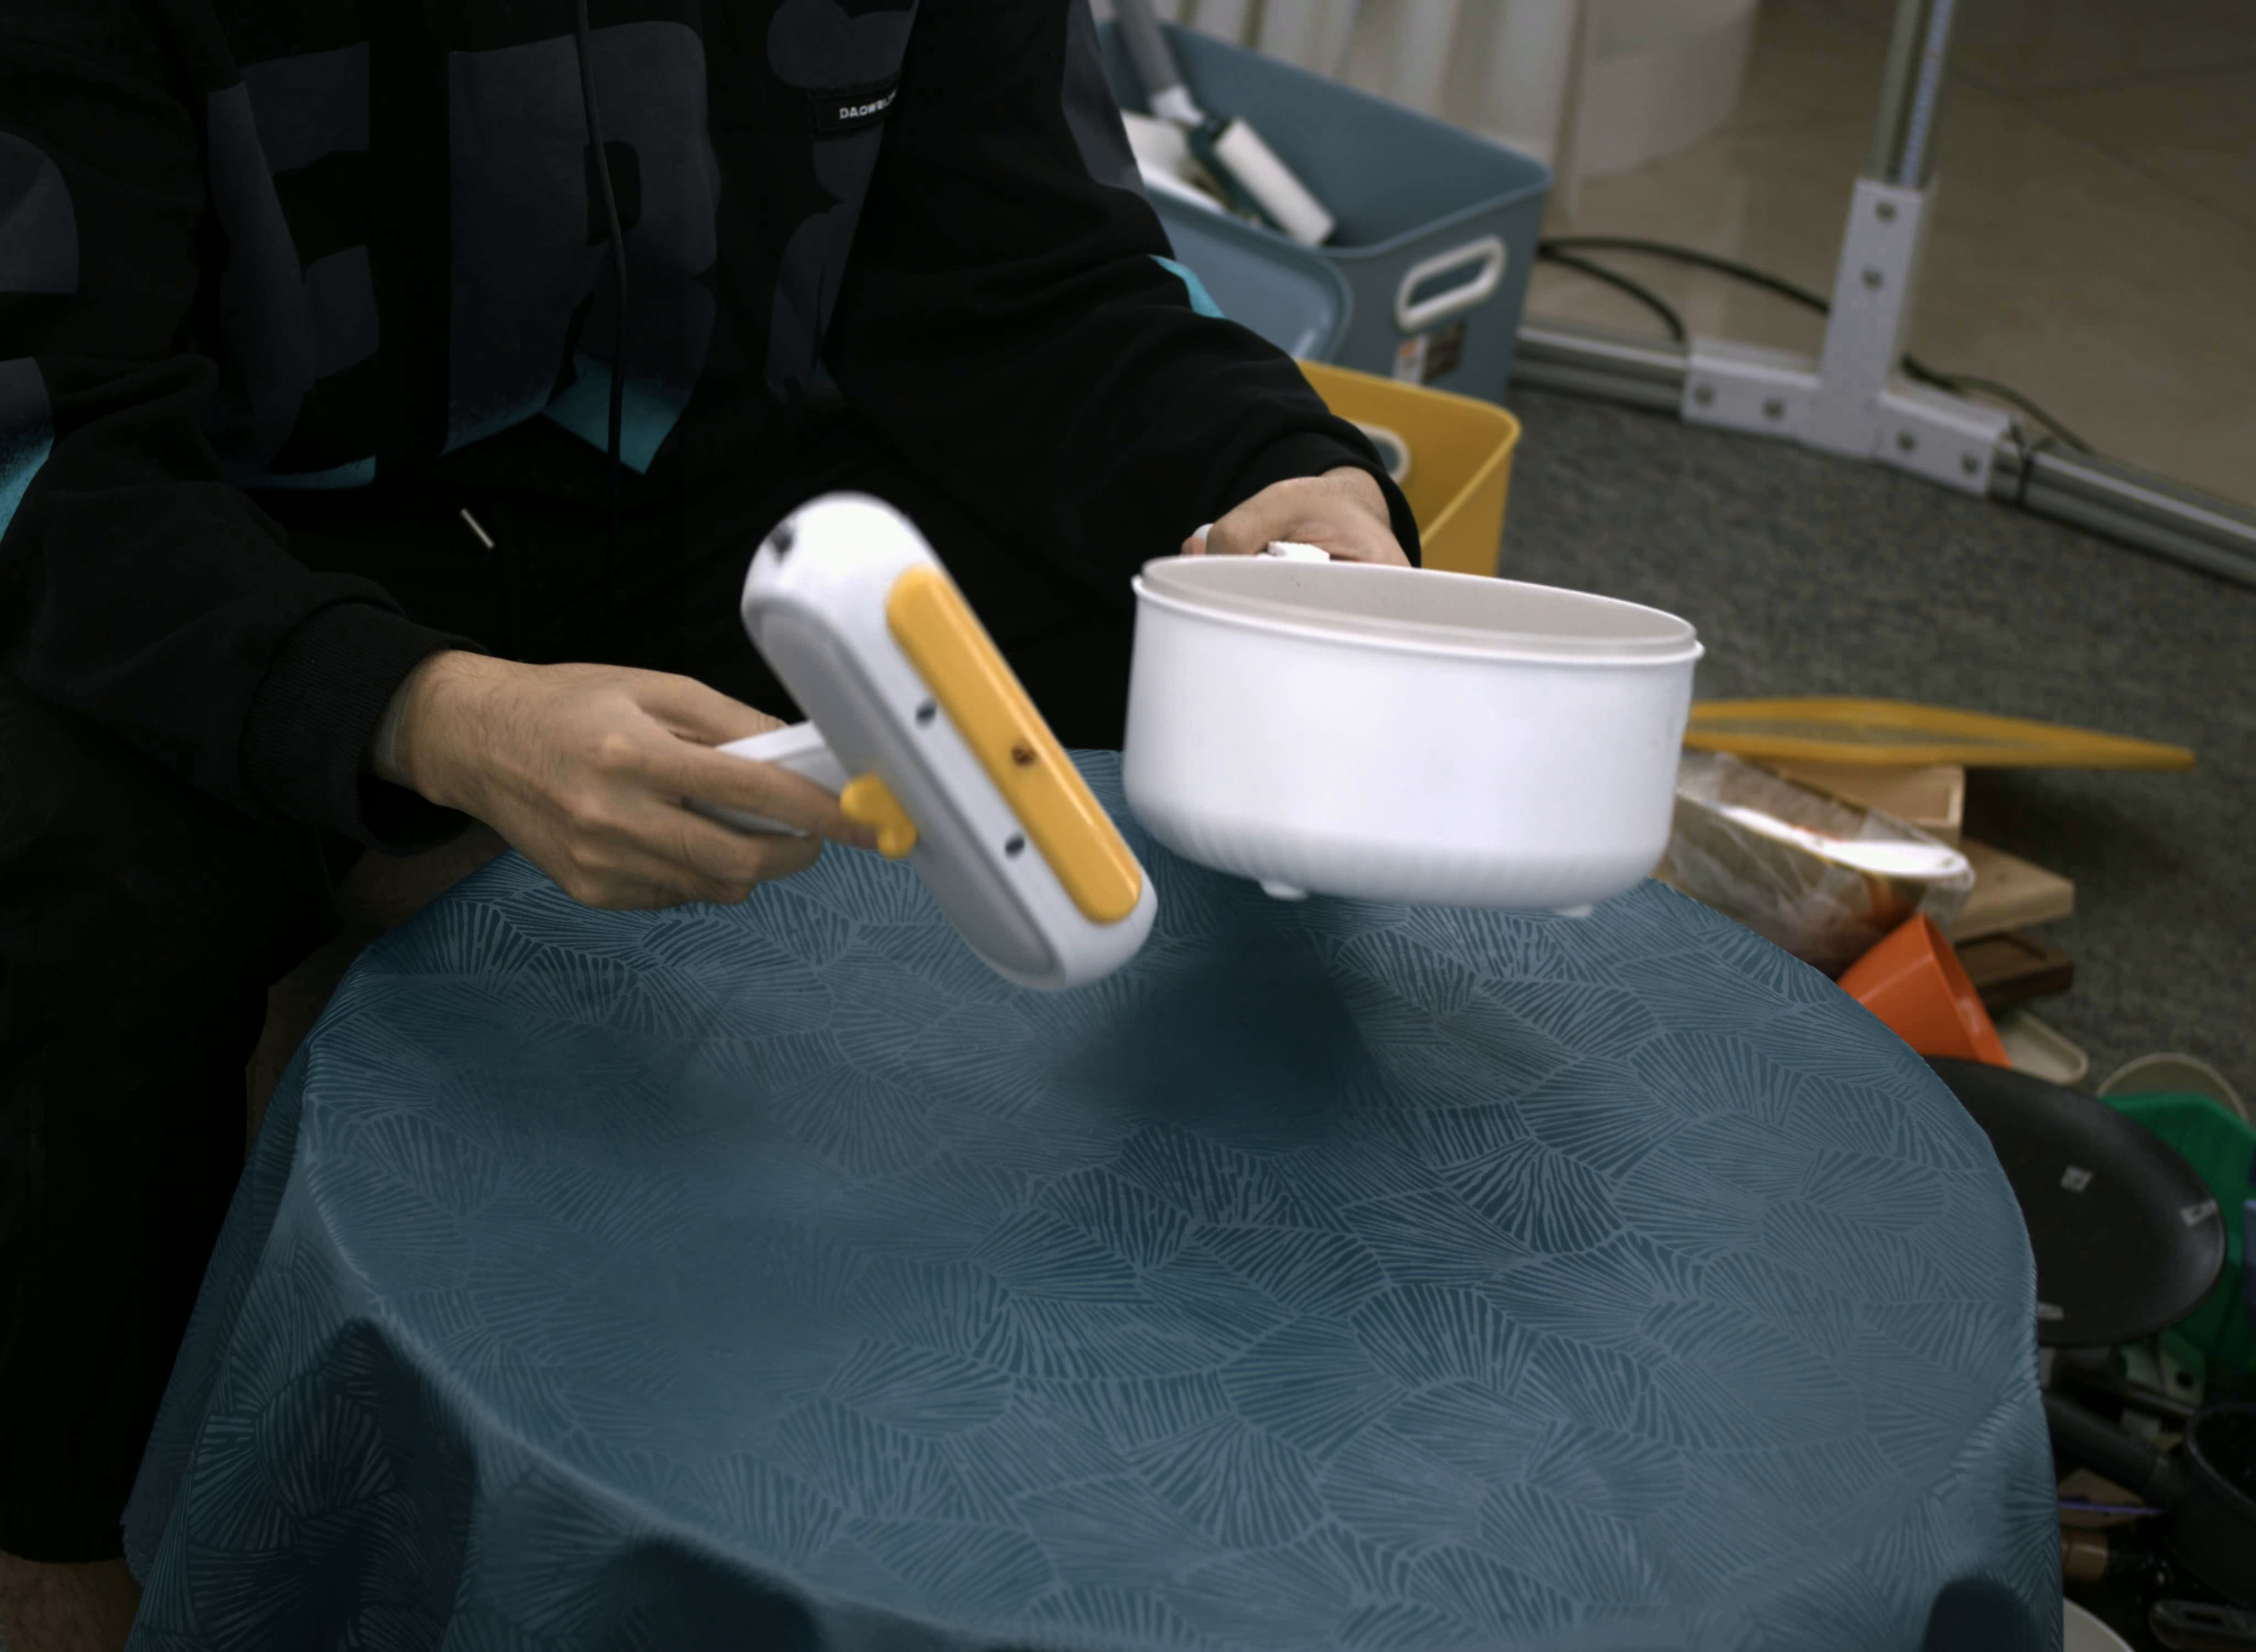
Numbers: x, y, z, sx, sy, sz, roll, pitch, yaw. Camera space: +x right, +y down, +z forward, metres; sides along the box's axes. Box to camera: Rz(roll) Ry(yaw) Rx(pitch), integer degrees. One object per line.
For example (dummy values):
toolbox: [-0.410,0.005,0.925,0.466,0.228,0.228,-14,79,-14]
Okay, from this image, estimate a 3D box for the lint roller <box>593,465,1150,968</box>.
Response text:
lint roller: [-0.105,-0.023,1.792,0.193,0.191,0.074,-11,36,49]

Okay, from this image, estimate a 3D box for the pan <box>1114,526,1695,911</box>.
pan: [0.077,-0.044,1.941,0.200,0.102,0.356,4,8,-13]
